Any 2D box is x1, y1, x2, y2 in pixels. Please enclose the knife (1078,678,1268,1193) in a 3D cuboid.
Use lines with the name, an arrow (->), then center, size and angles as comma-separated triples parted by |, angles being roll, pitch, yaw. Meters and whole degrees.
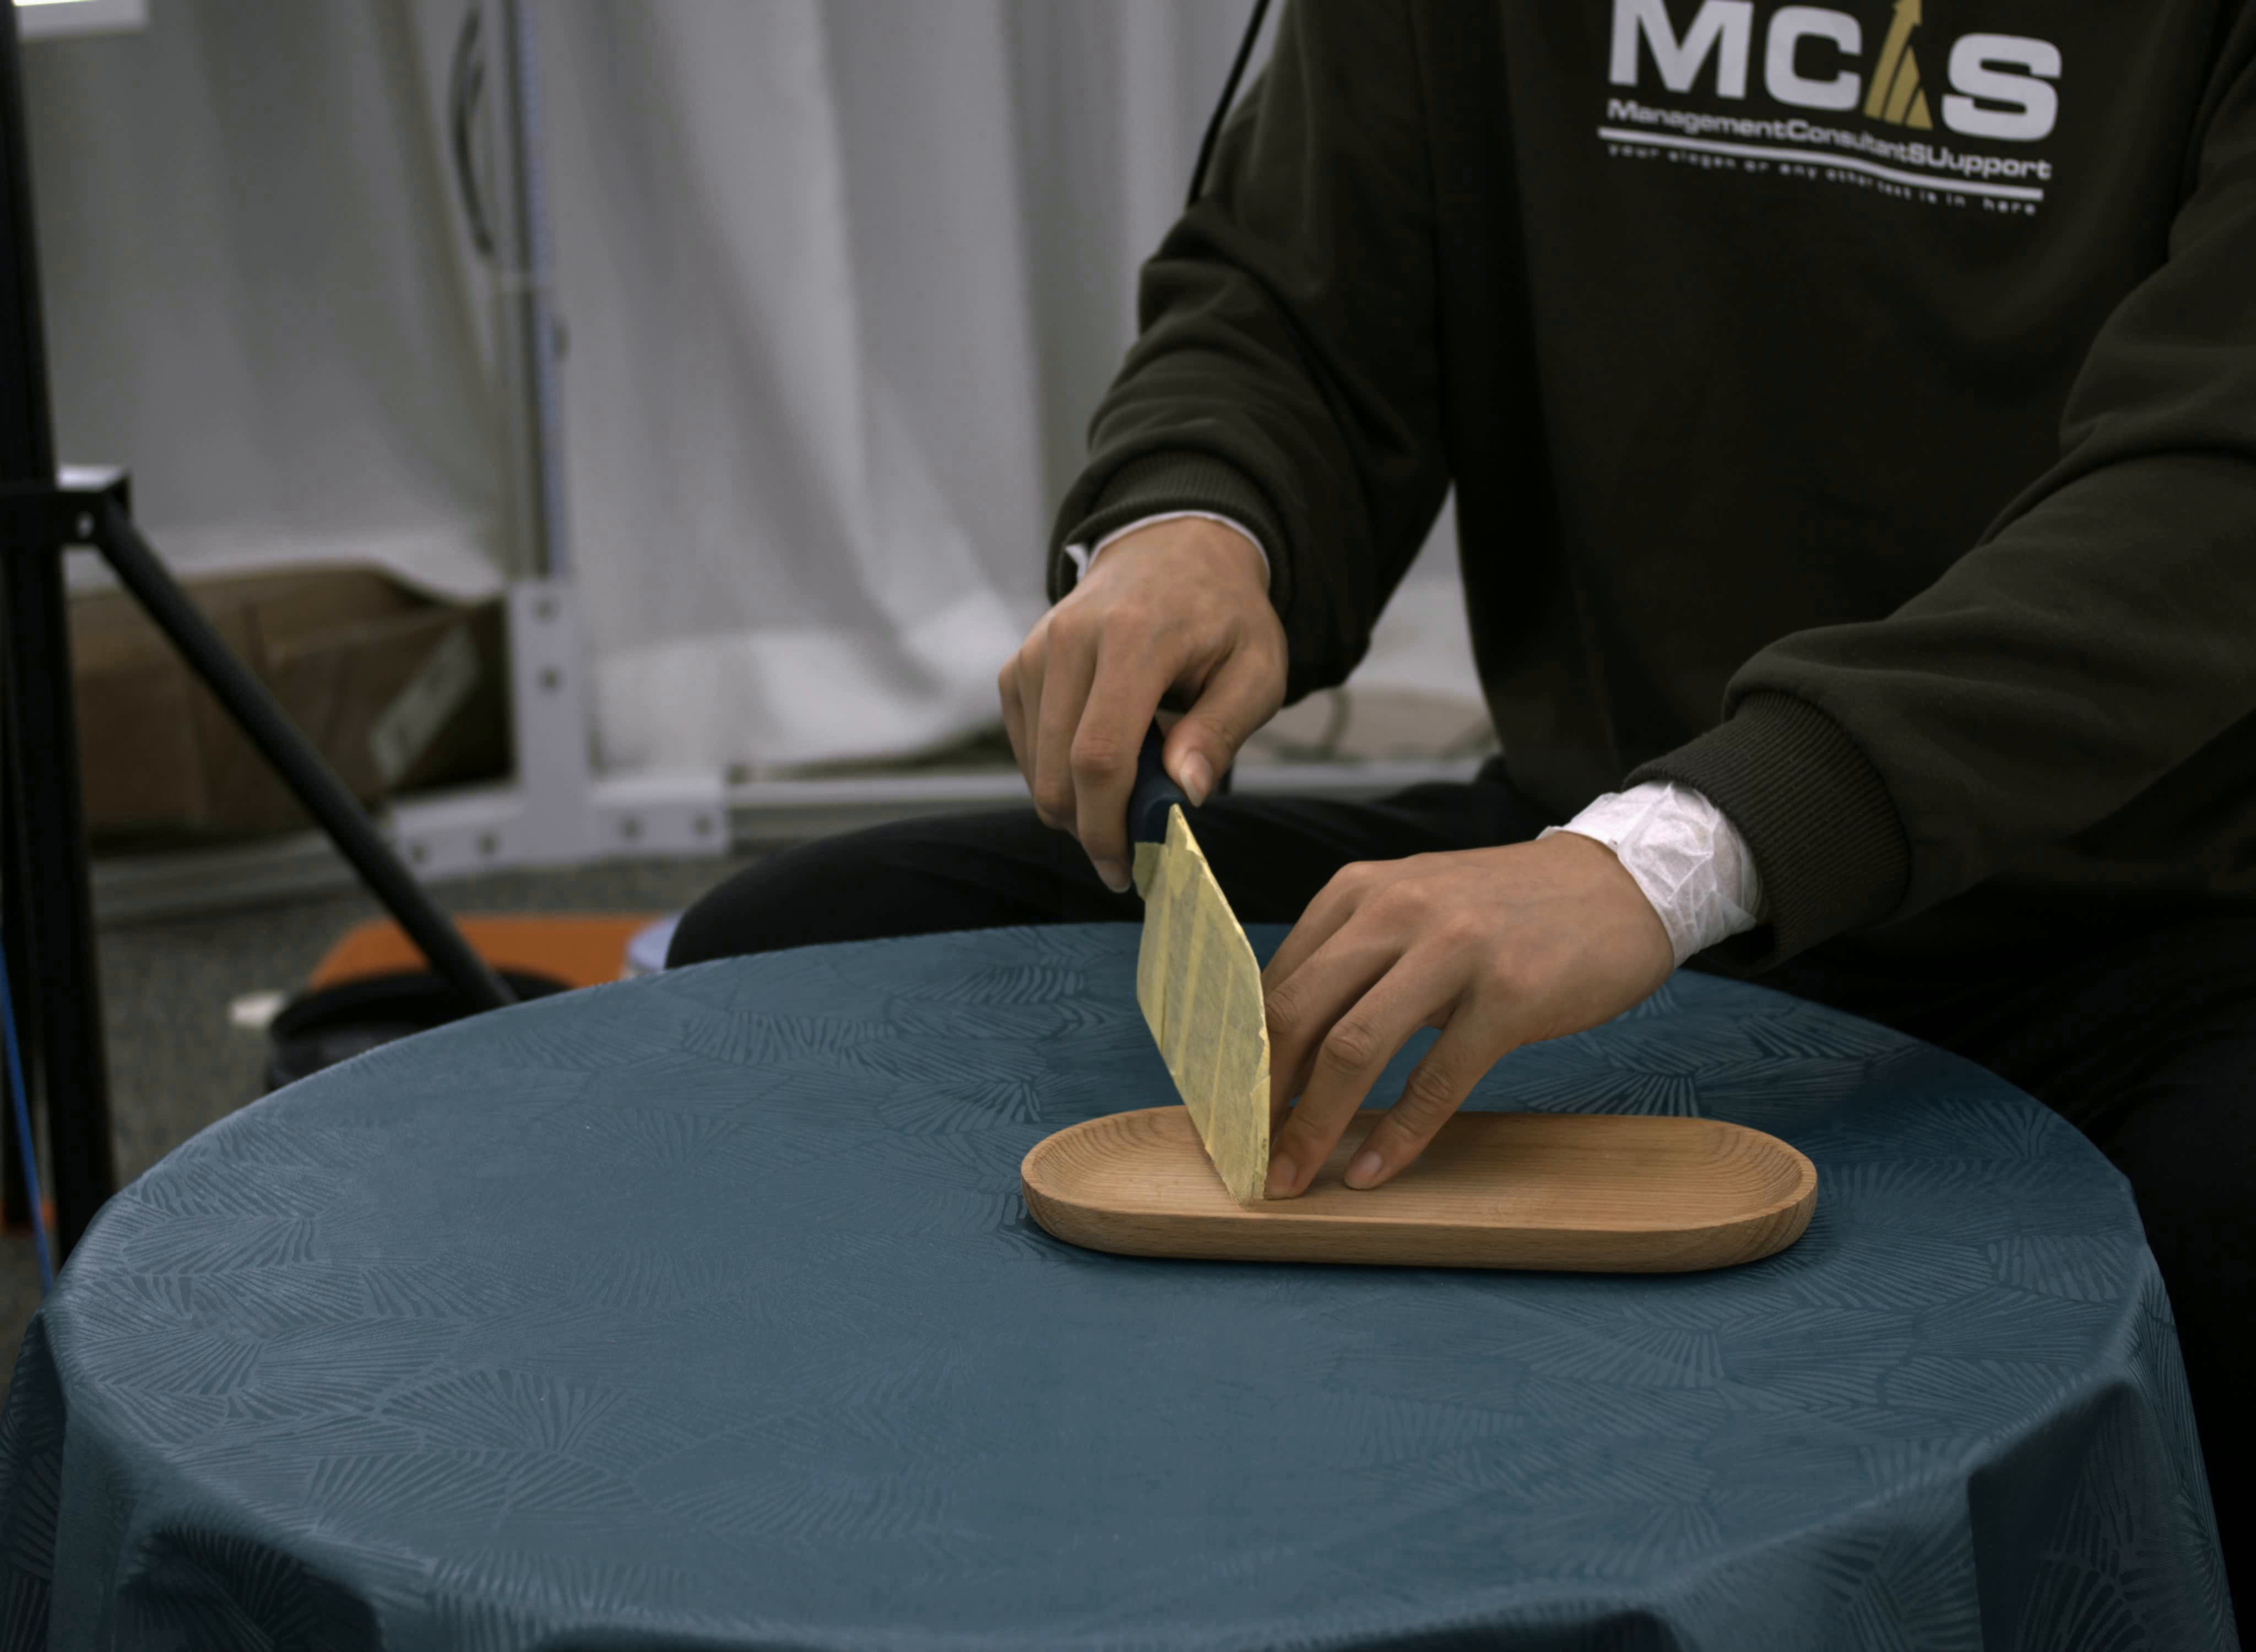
knife -> 0.014, 0.028, 1.623 | 0.027, 0.081, 0.293 | 6, 25, -12

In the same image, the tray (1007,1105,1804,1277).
tray -> 0.079, 0.105, 1.528 | 0.232, 0.020, 0.101 | 0, 15, 14
